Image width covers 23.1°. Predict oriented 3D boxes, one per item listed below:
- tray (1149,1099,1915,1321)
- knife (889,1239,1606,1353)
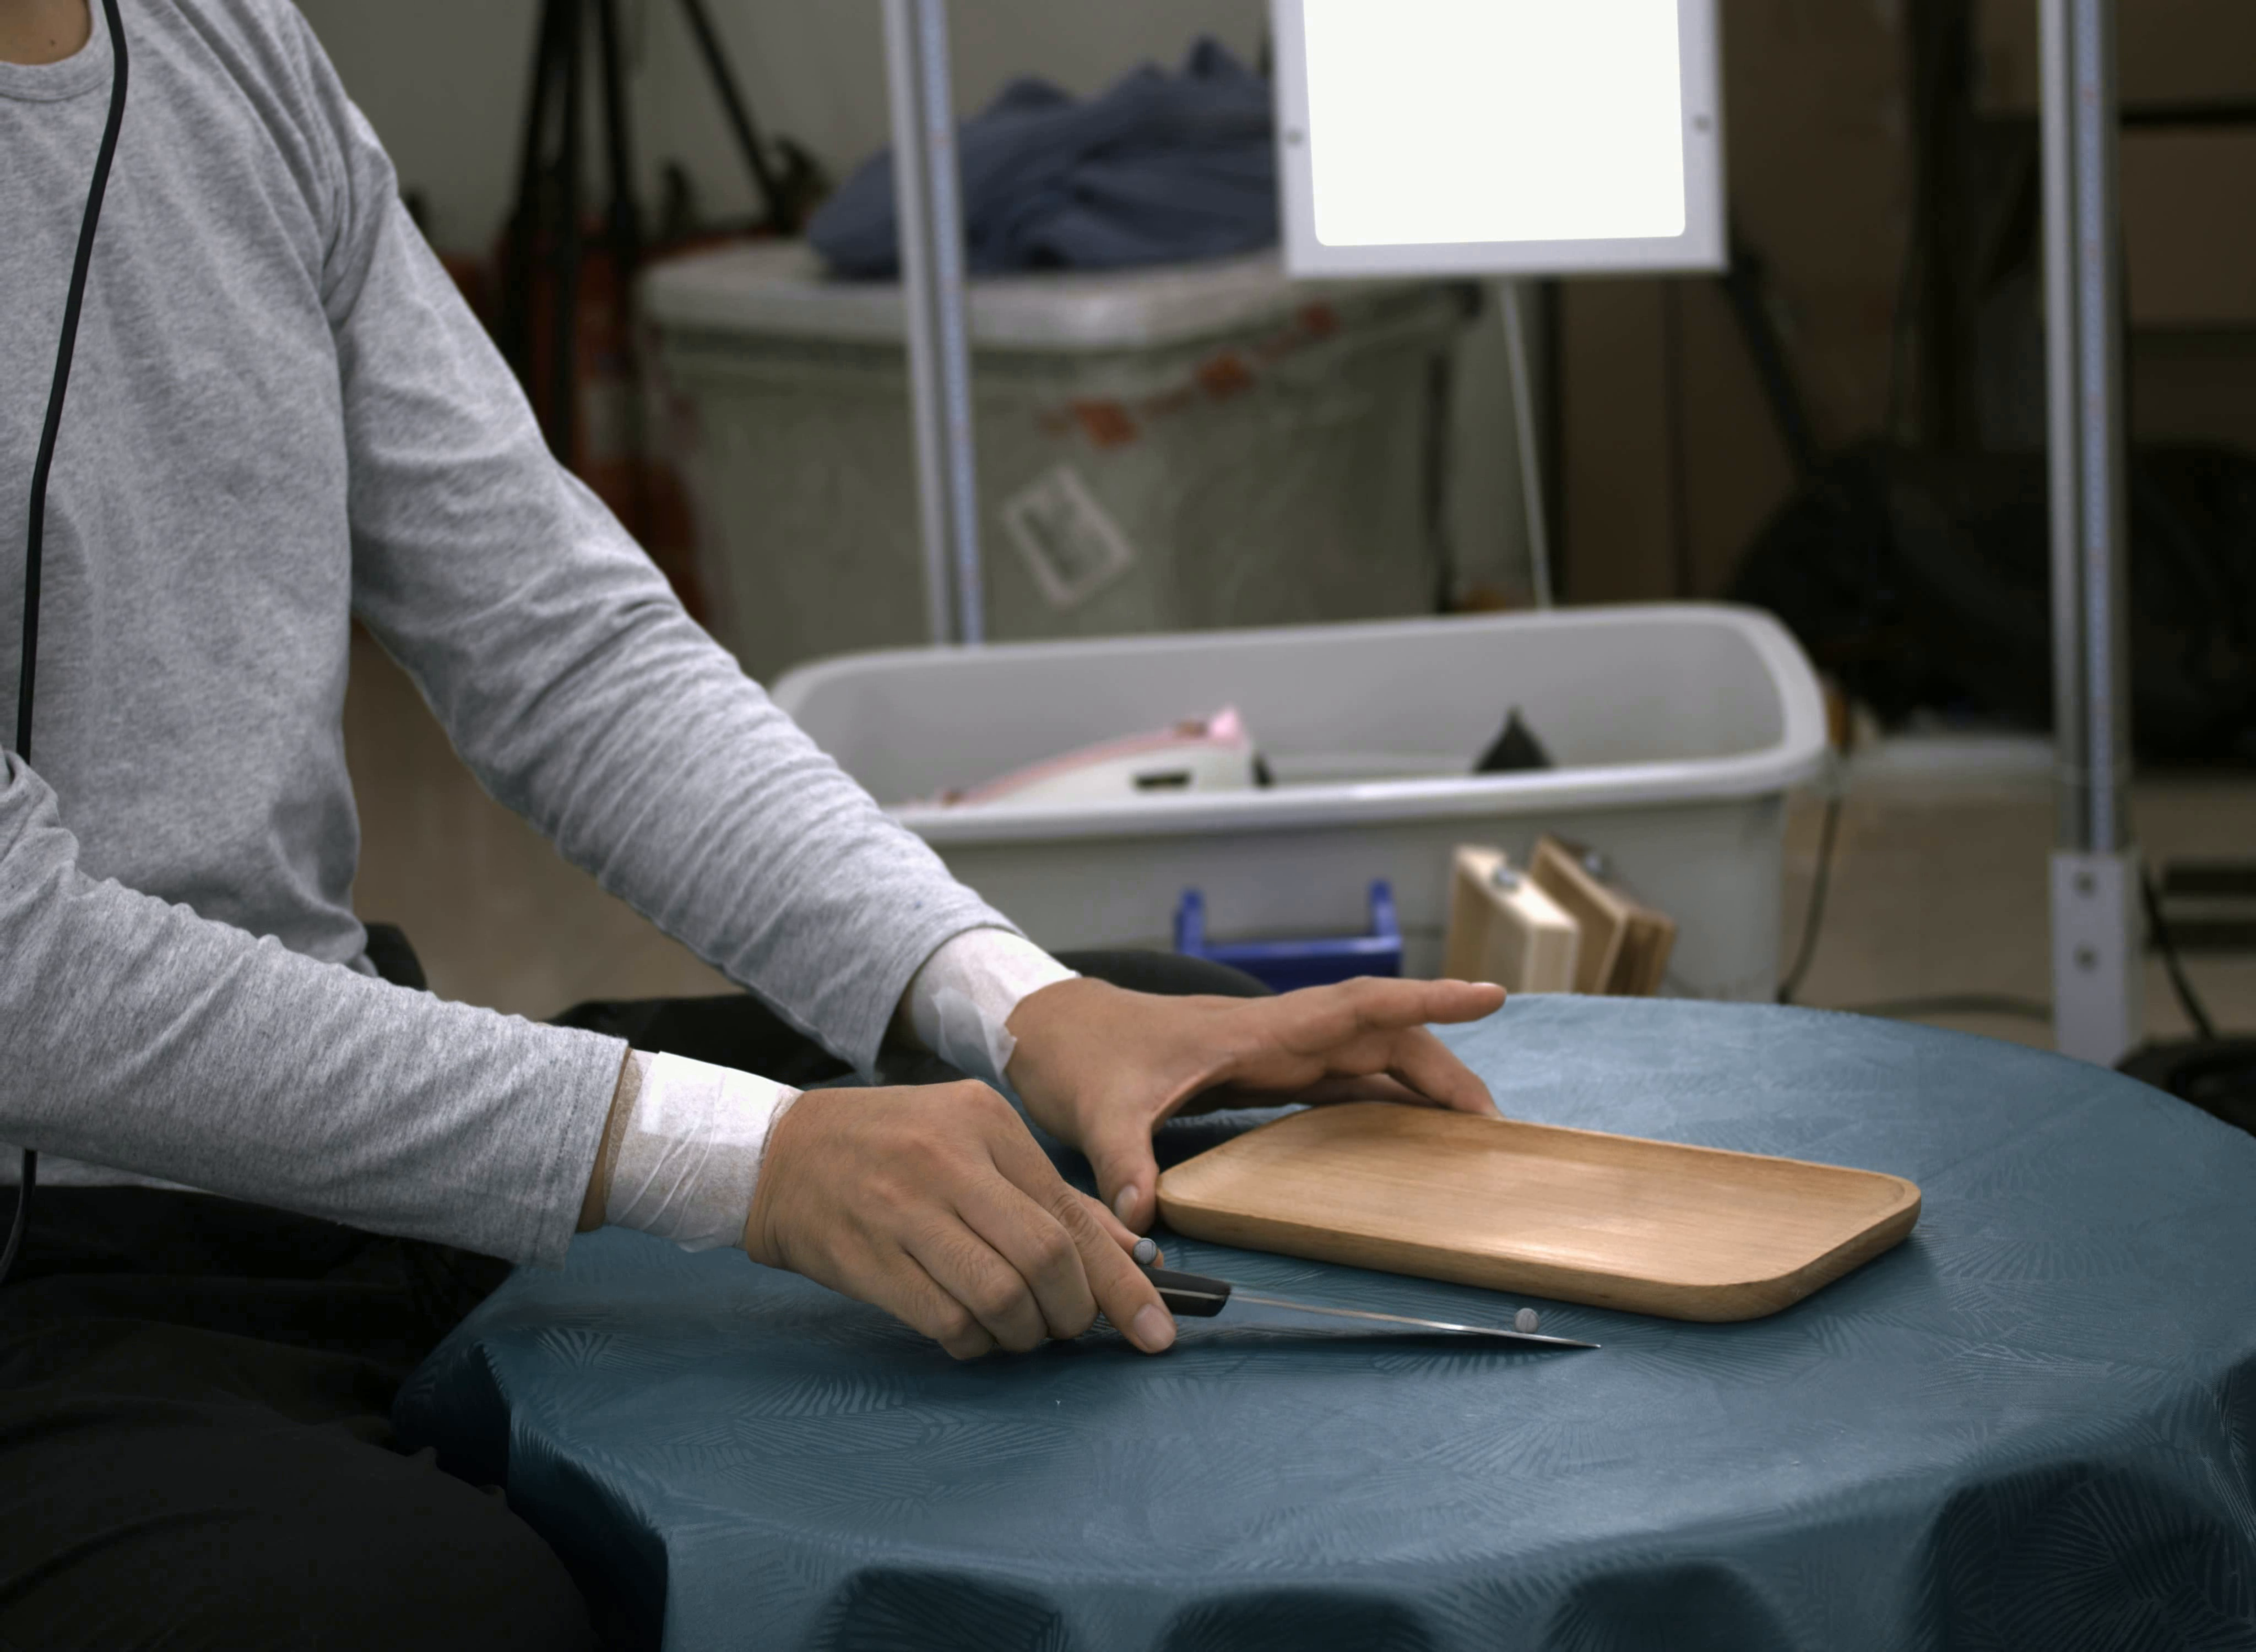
[{"bbox_3d":[0.133,0.126,1.823,0.256,0.023,0.127,5,14,40],"label":"tray"},{"bbox_3d":[0.035,0.151,1.743,0.241,0.016,0.024,6,-3,19],"label":"knife"}]
